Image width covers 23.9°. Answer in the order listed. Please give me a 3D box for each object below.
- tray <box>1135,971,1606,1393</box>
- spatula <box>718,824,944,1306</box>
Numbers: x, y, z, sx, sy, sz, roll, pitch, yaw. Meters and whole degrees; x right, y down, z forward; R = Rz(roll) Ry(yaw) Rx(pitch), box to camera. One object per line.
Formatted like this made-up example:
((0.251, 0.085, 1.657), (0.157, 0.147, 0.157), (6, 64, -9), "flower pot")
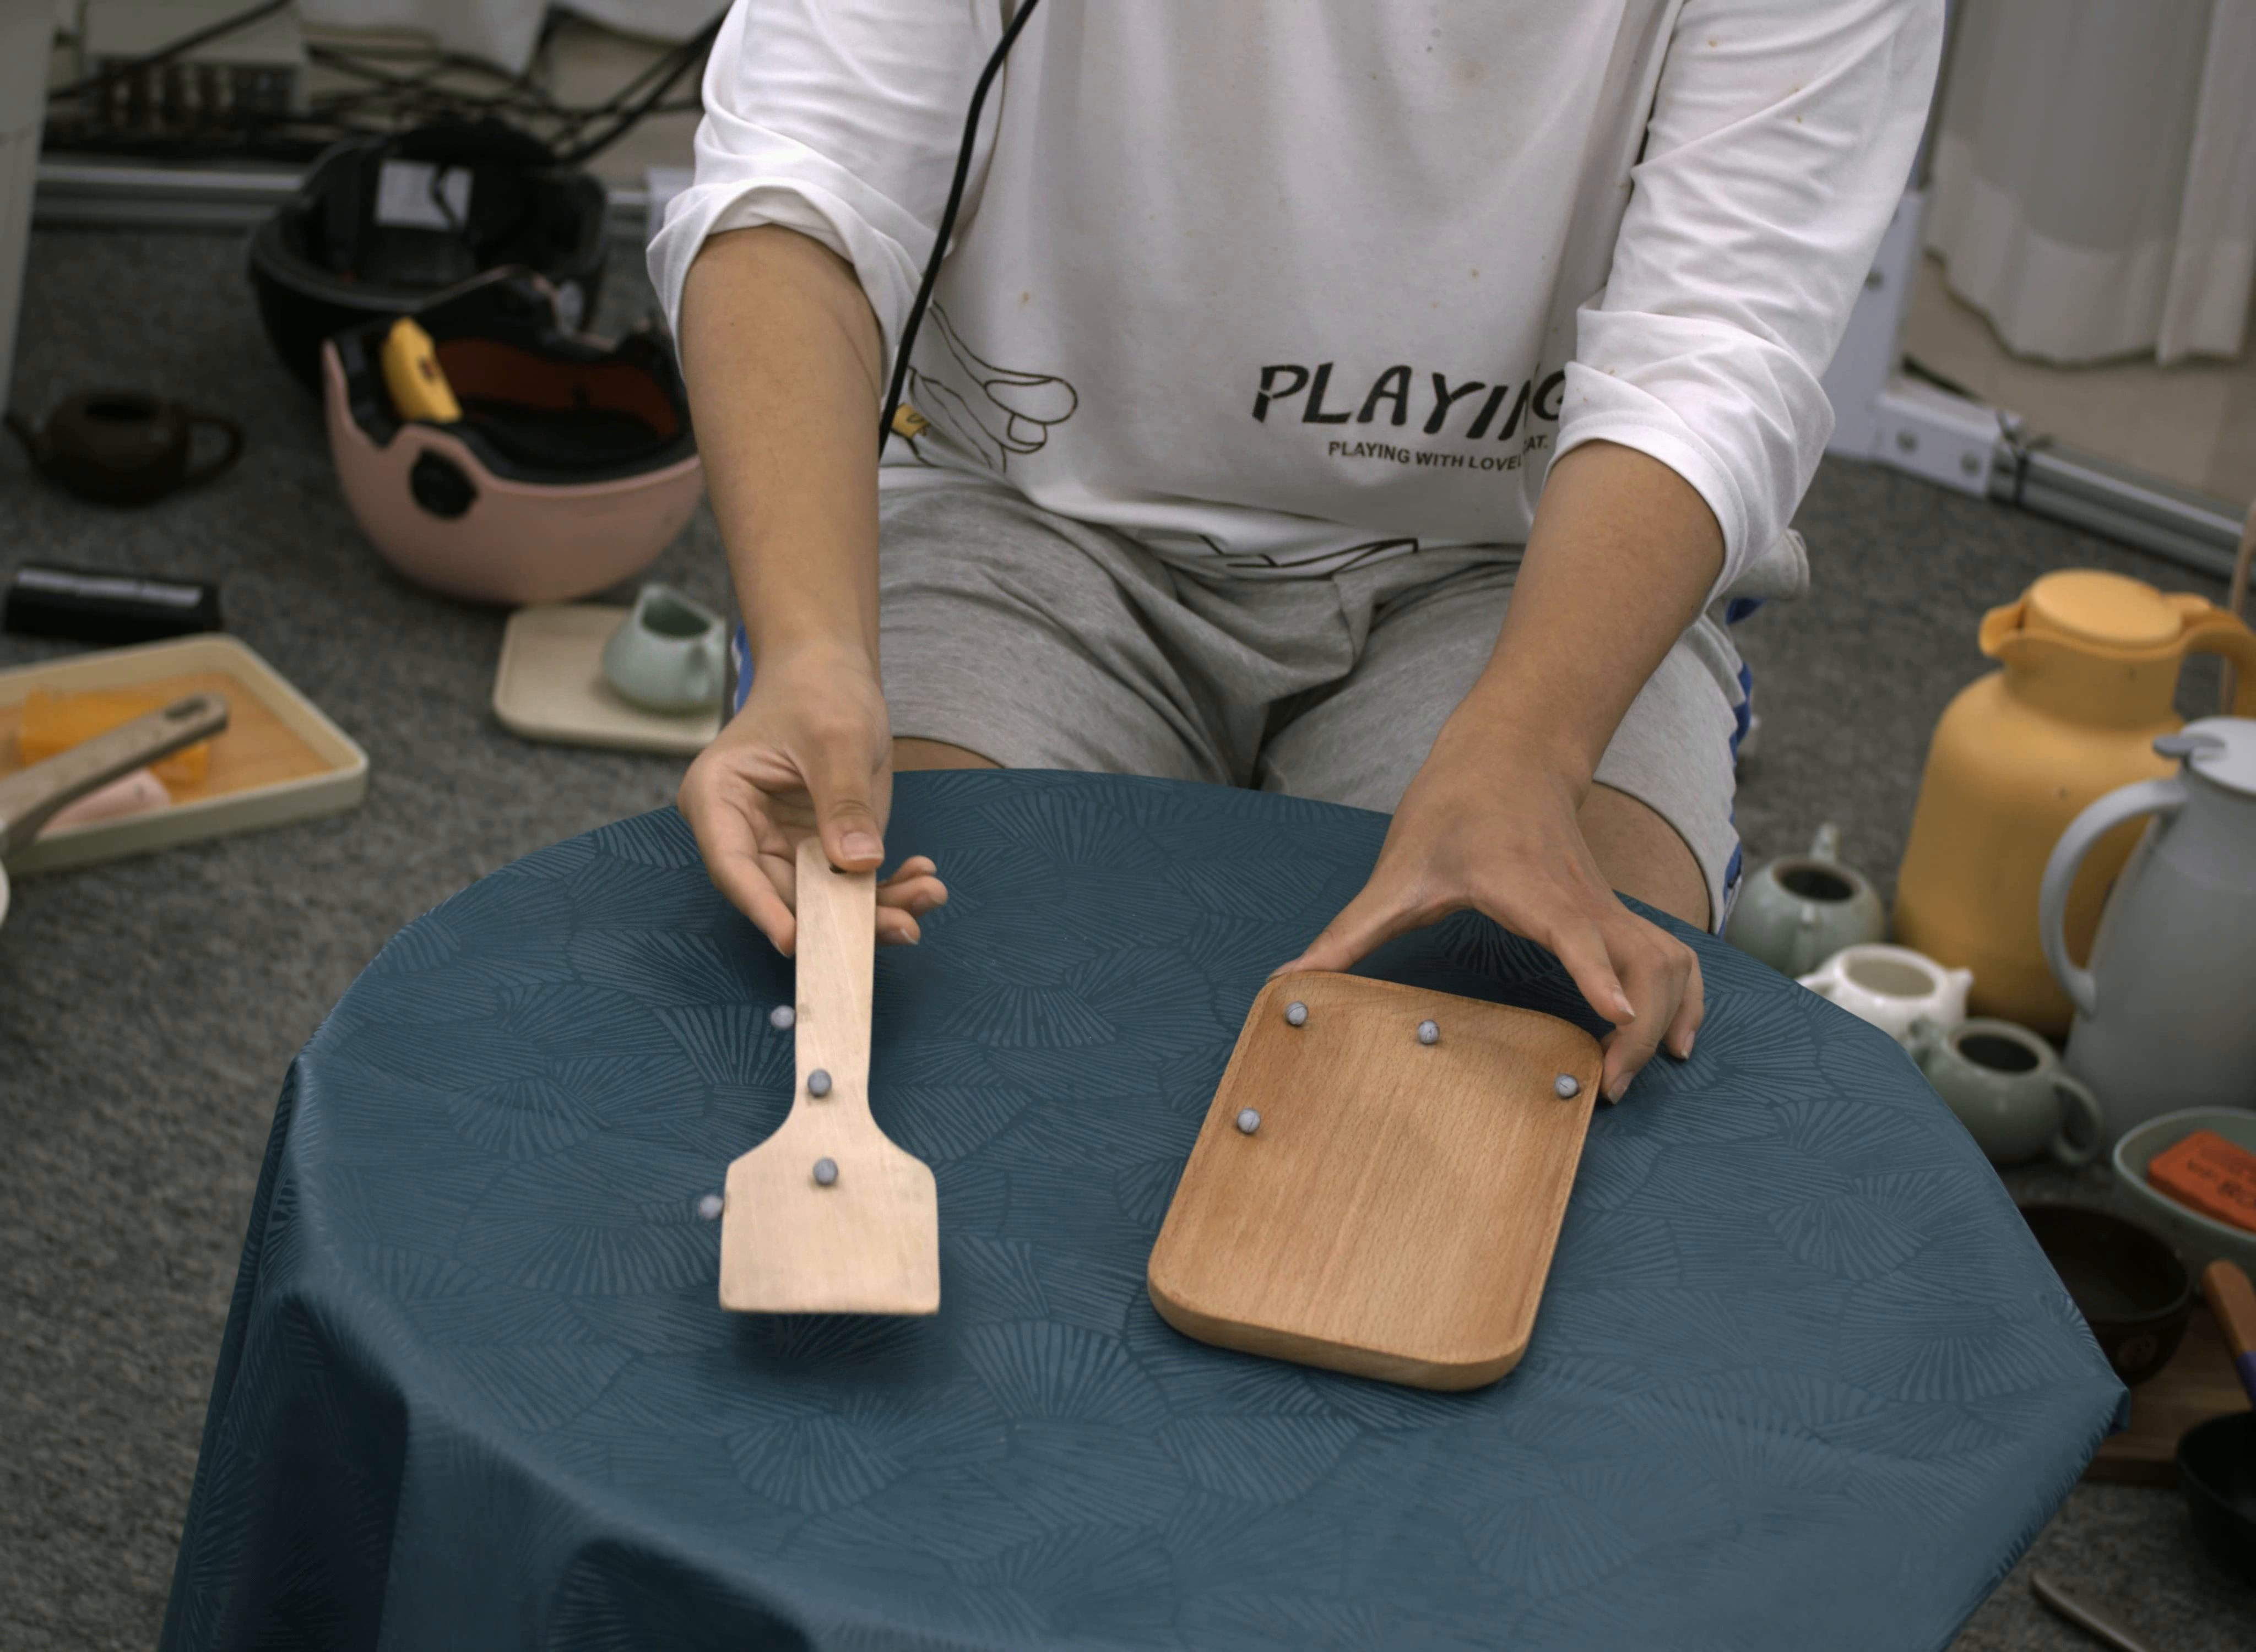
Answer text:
((0.086, 0.119, 1.819), (0.130, 0.023, 0.251), (9, 27, 11), "tray")
((-0.100, 0.077, 1.798), (0.072, 0.010, 0.295), (1, 31, -3), "spatula")
